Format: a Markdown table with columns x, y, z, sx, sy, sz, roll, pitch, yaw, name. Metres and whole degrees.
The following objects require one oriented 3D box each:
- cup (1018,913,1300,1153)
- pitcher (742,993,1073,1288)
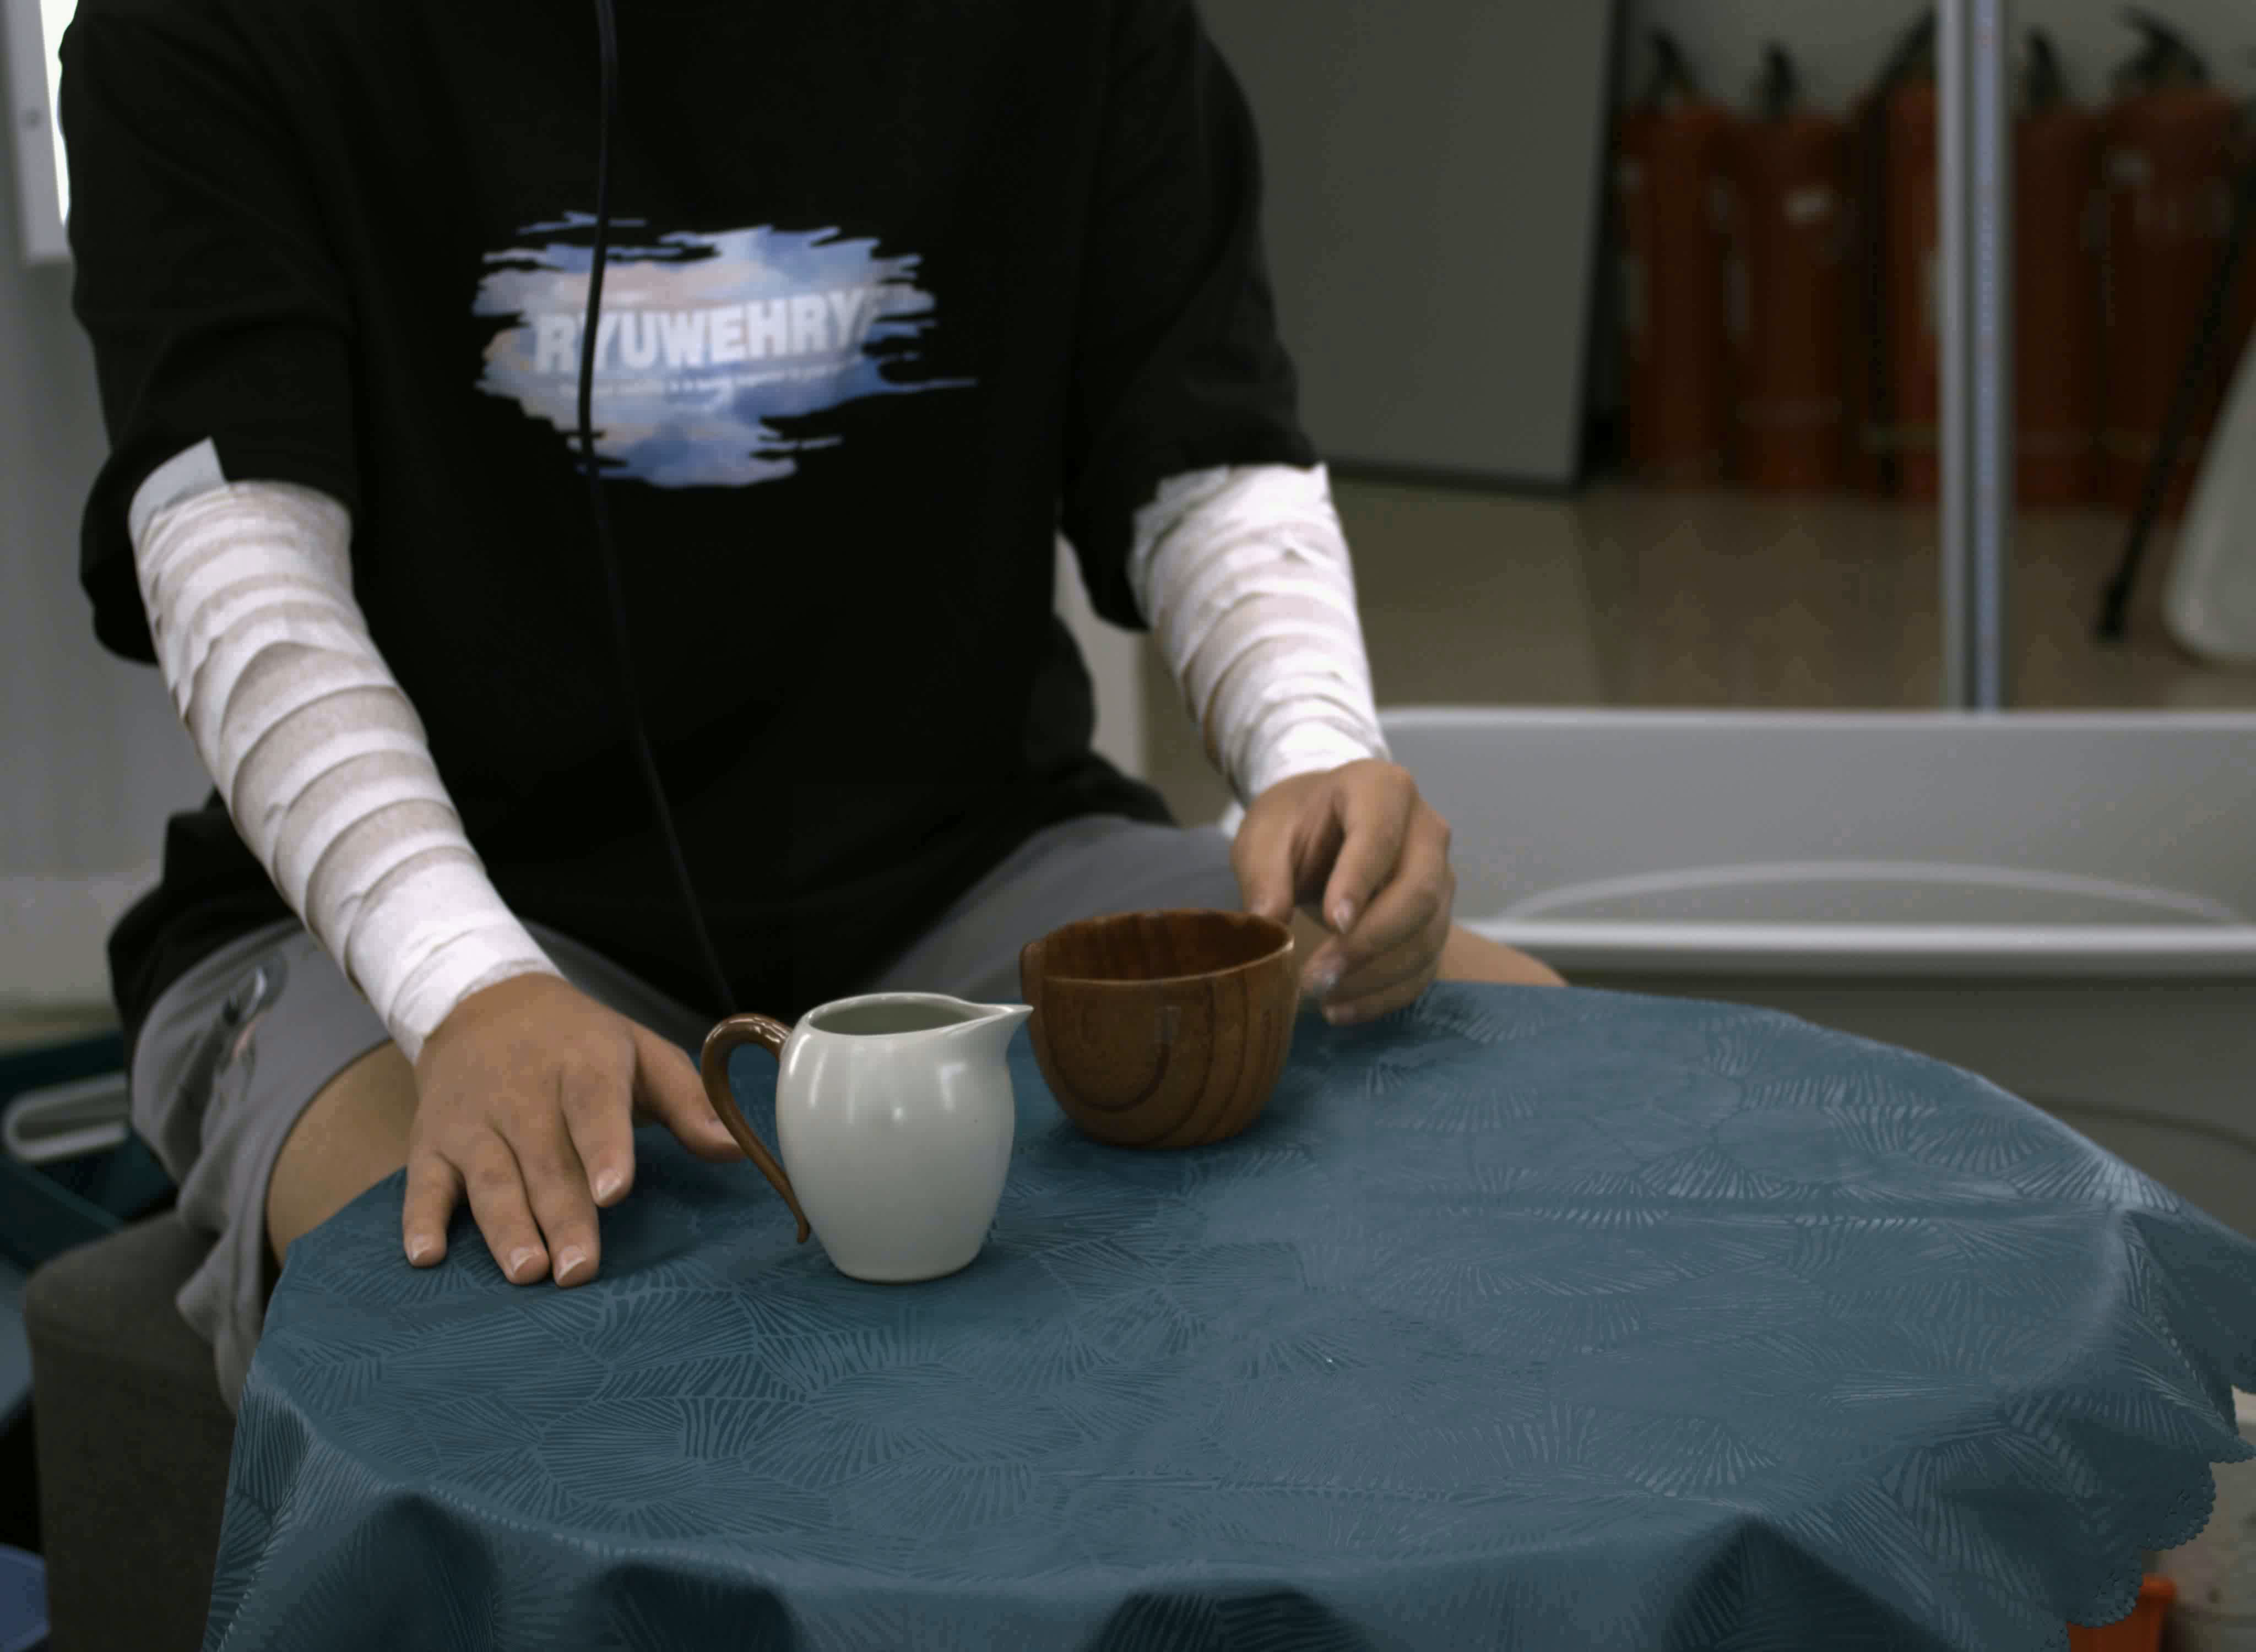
| x | y | z | sx | sy | sz | roll | pitch | yaw | name |
| --- | --- | --- | --- | --- | --- | --- | --- | --- | --- |
| 0.021 | 0.070 | 1.843 | 0.097 | 0.068 | 0.117 | 3 | 13 | 39 | cup |
| -0.071 | 0.096 | 1.706 | 0.119 | 0.089 | 0.074 | 7 | 12 | 28 | pitcher |
